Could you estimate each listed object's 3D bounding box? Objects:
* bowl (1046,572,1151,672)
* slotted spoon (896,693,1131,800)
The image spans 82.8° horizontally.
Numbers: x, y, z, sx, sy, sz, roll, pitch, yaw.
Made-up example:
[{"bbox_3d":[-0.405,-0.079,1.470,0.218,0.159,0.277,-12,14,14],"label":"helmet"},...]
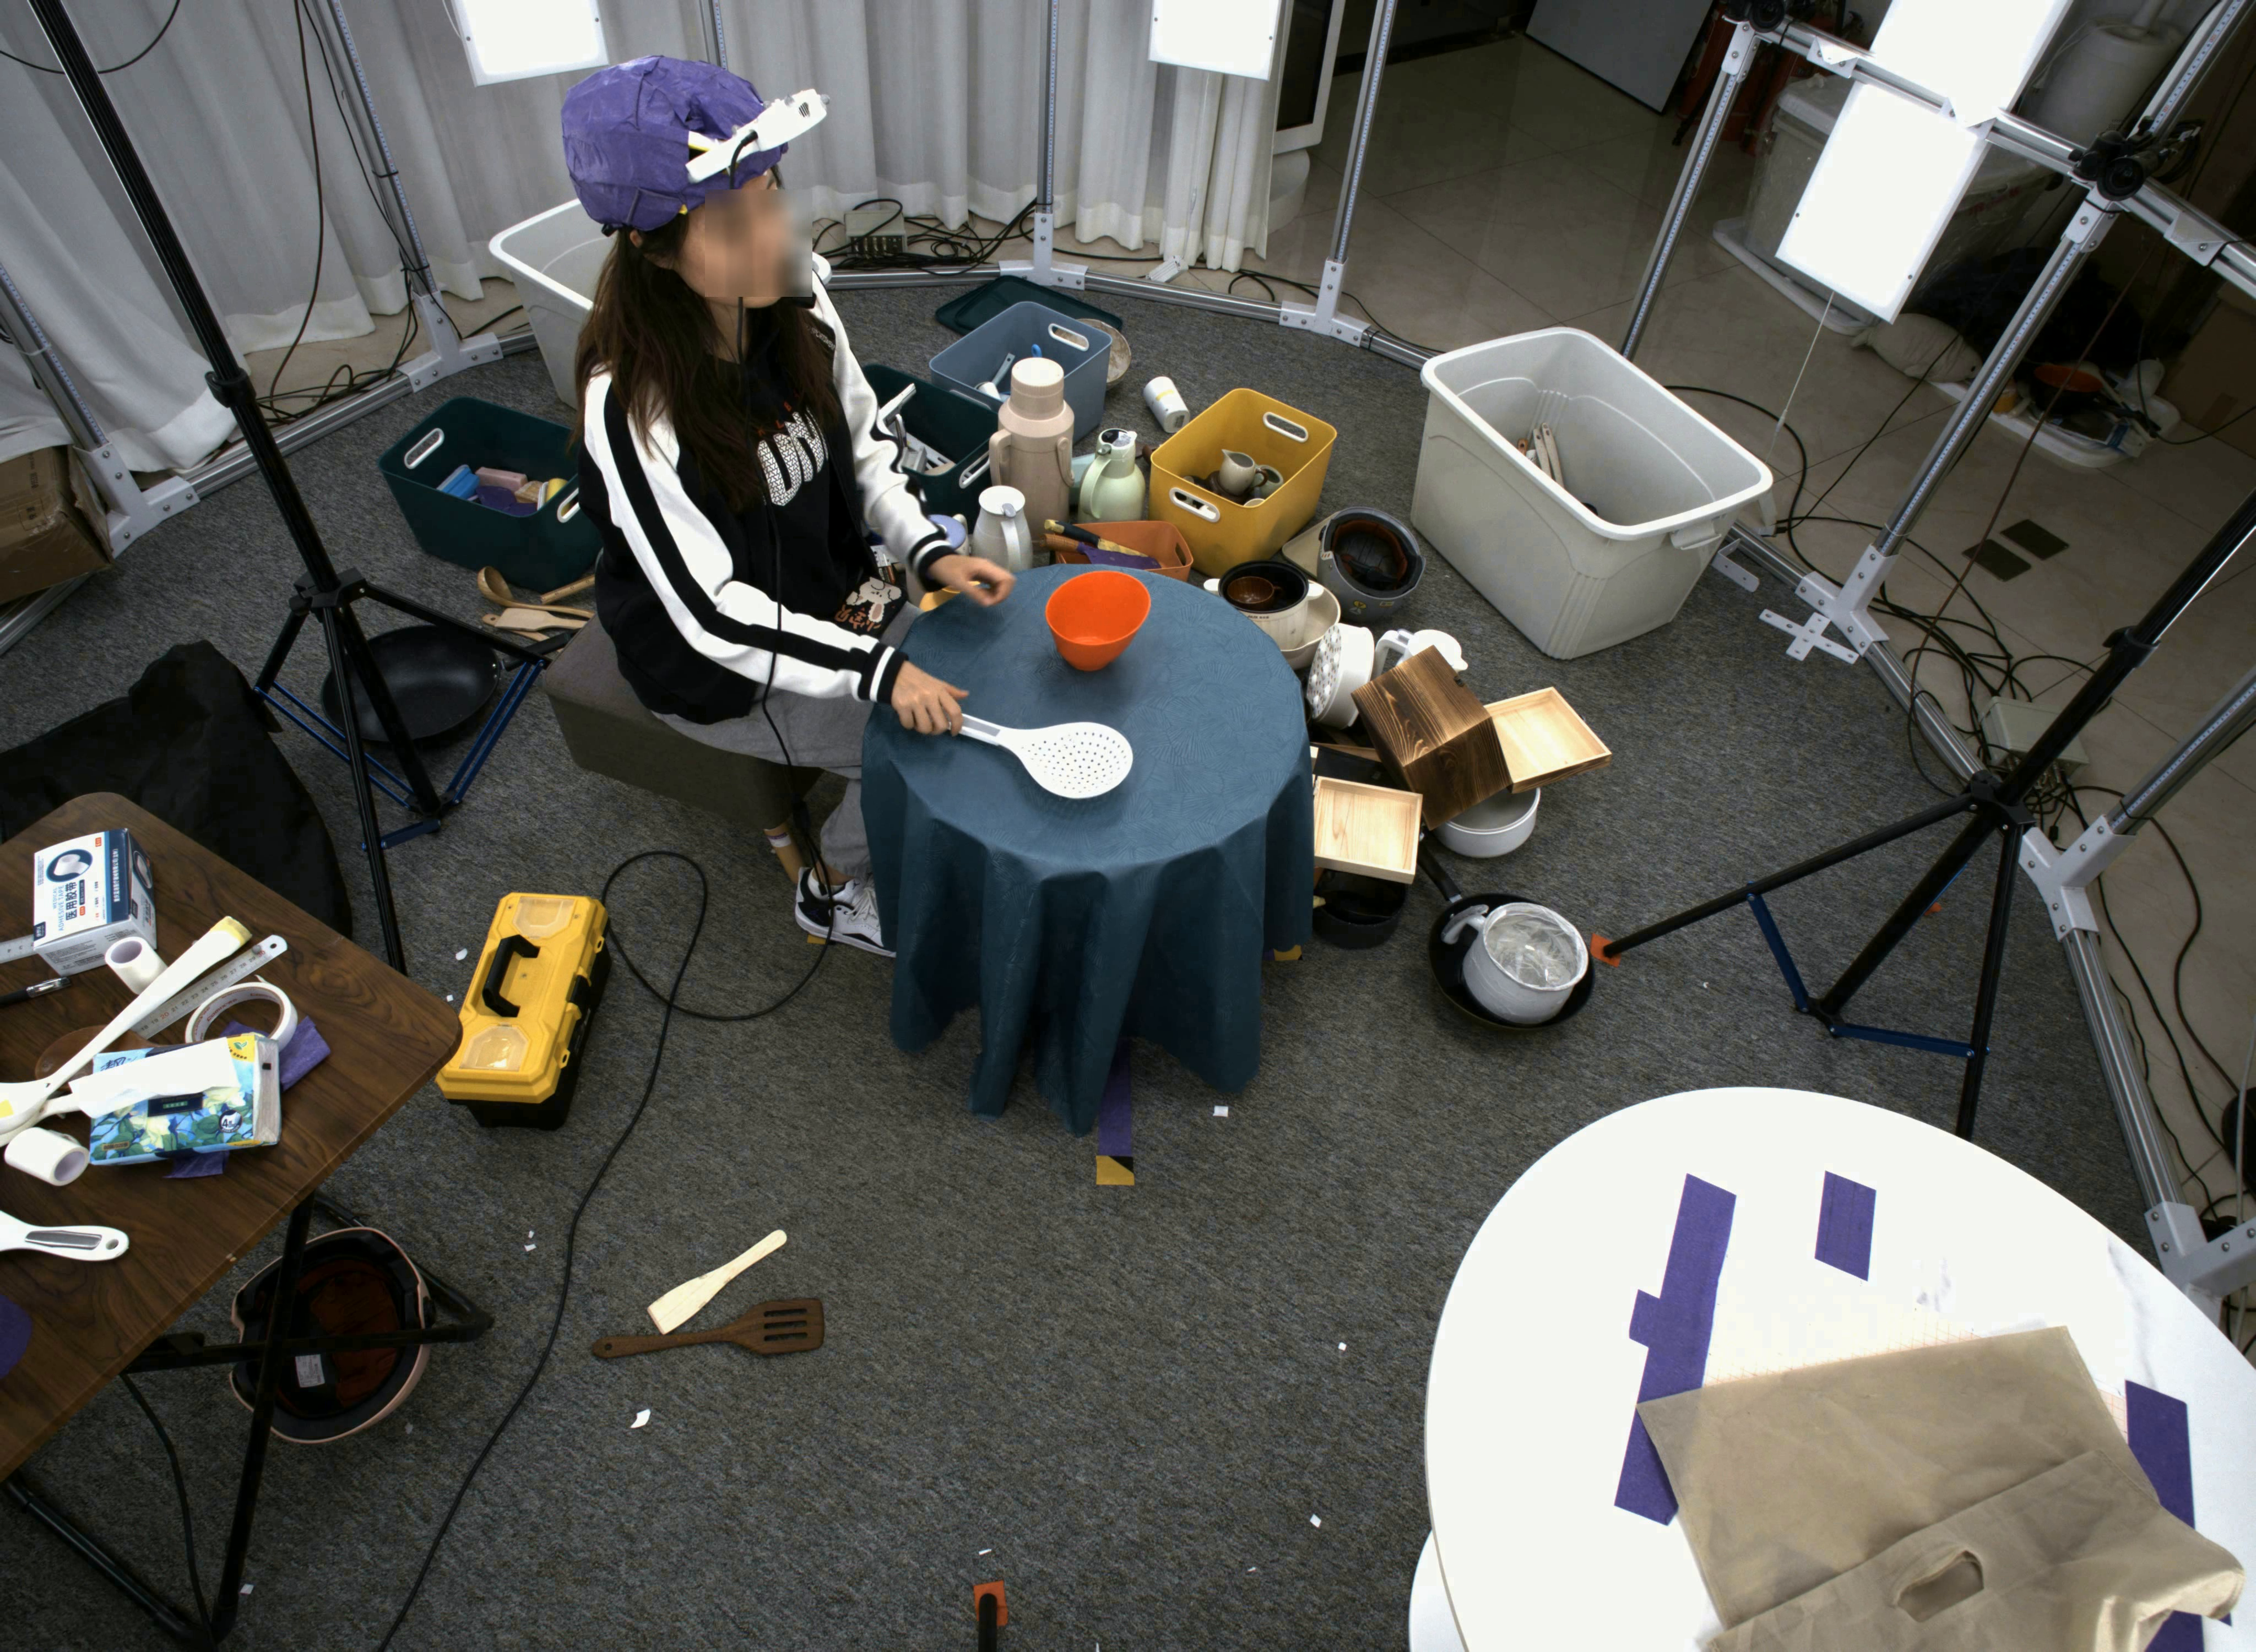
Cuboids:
[{"bbox_3d":[-0.044,-0.282,1.847,0.148,0.102,0.152,1,51,-2],"label":"bowl"},{"bbox_3d":[-0.160,-0.117,1.731,0.352,0.044,0.138,22,52,15],"label":"slotted spoon"}]
